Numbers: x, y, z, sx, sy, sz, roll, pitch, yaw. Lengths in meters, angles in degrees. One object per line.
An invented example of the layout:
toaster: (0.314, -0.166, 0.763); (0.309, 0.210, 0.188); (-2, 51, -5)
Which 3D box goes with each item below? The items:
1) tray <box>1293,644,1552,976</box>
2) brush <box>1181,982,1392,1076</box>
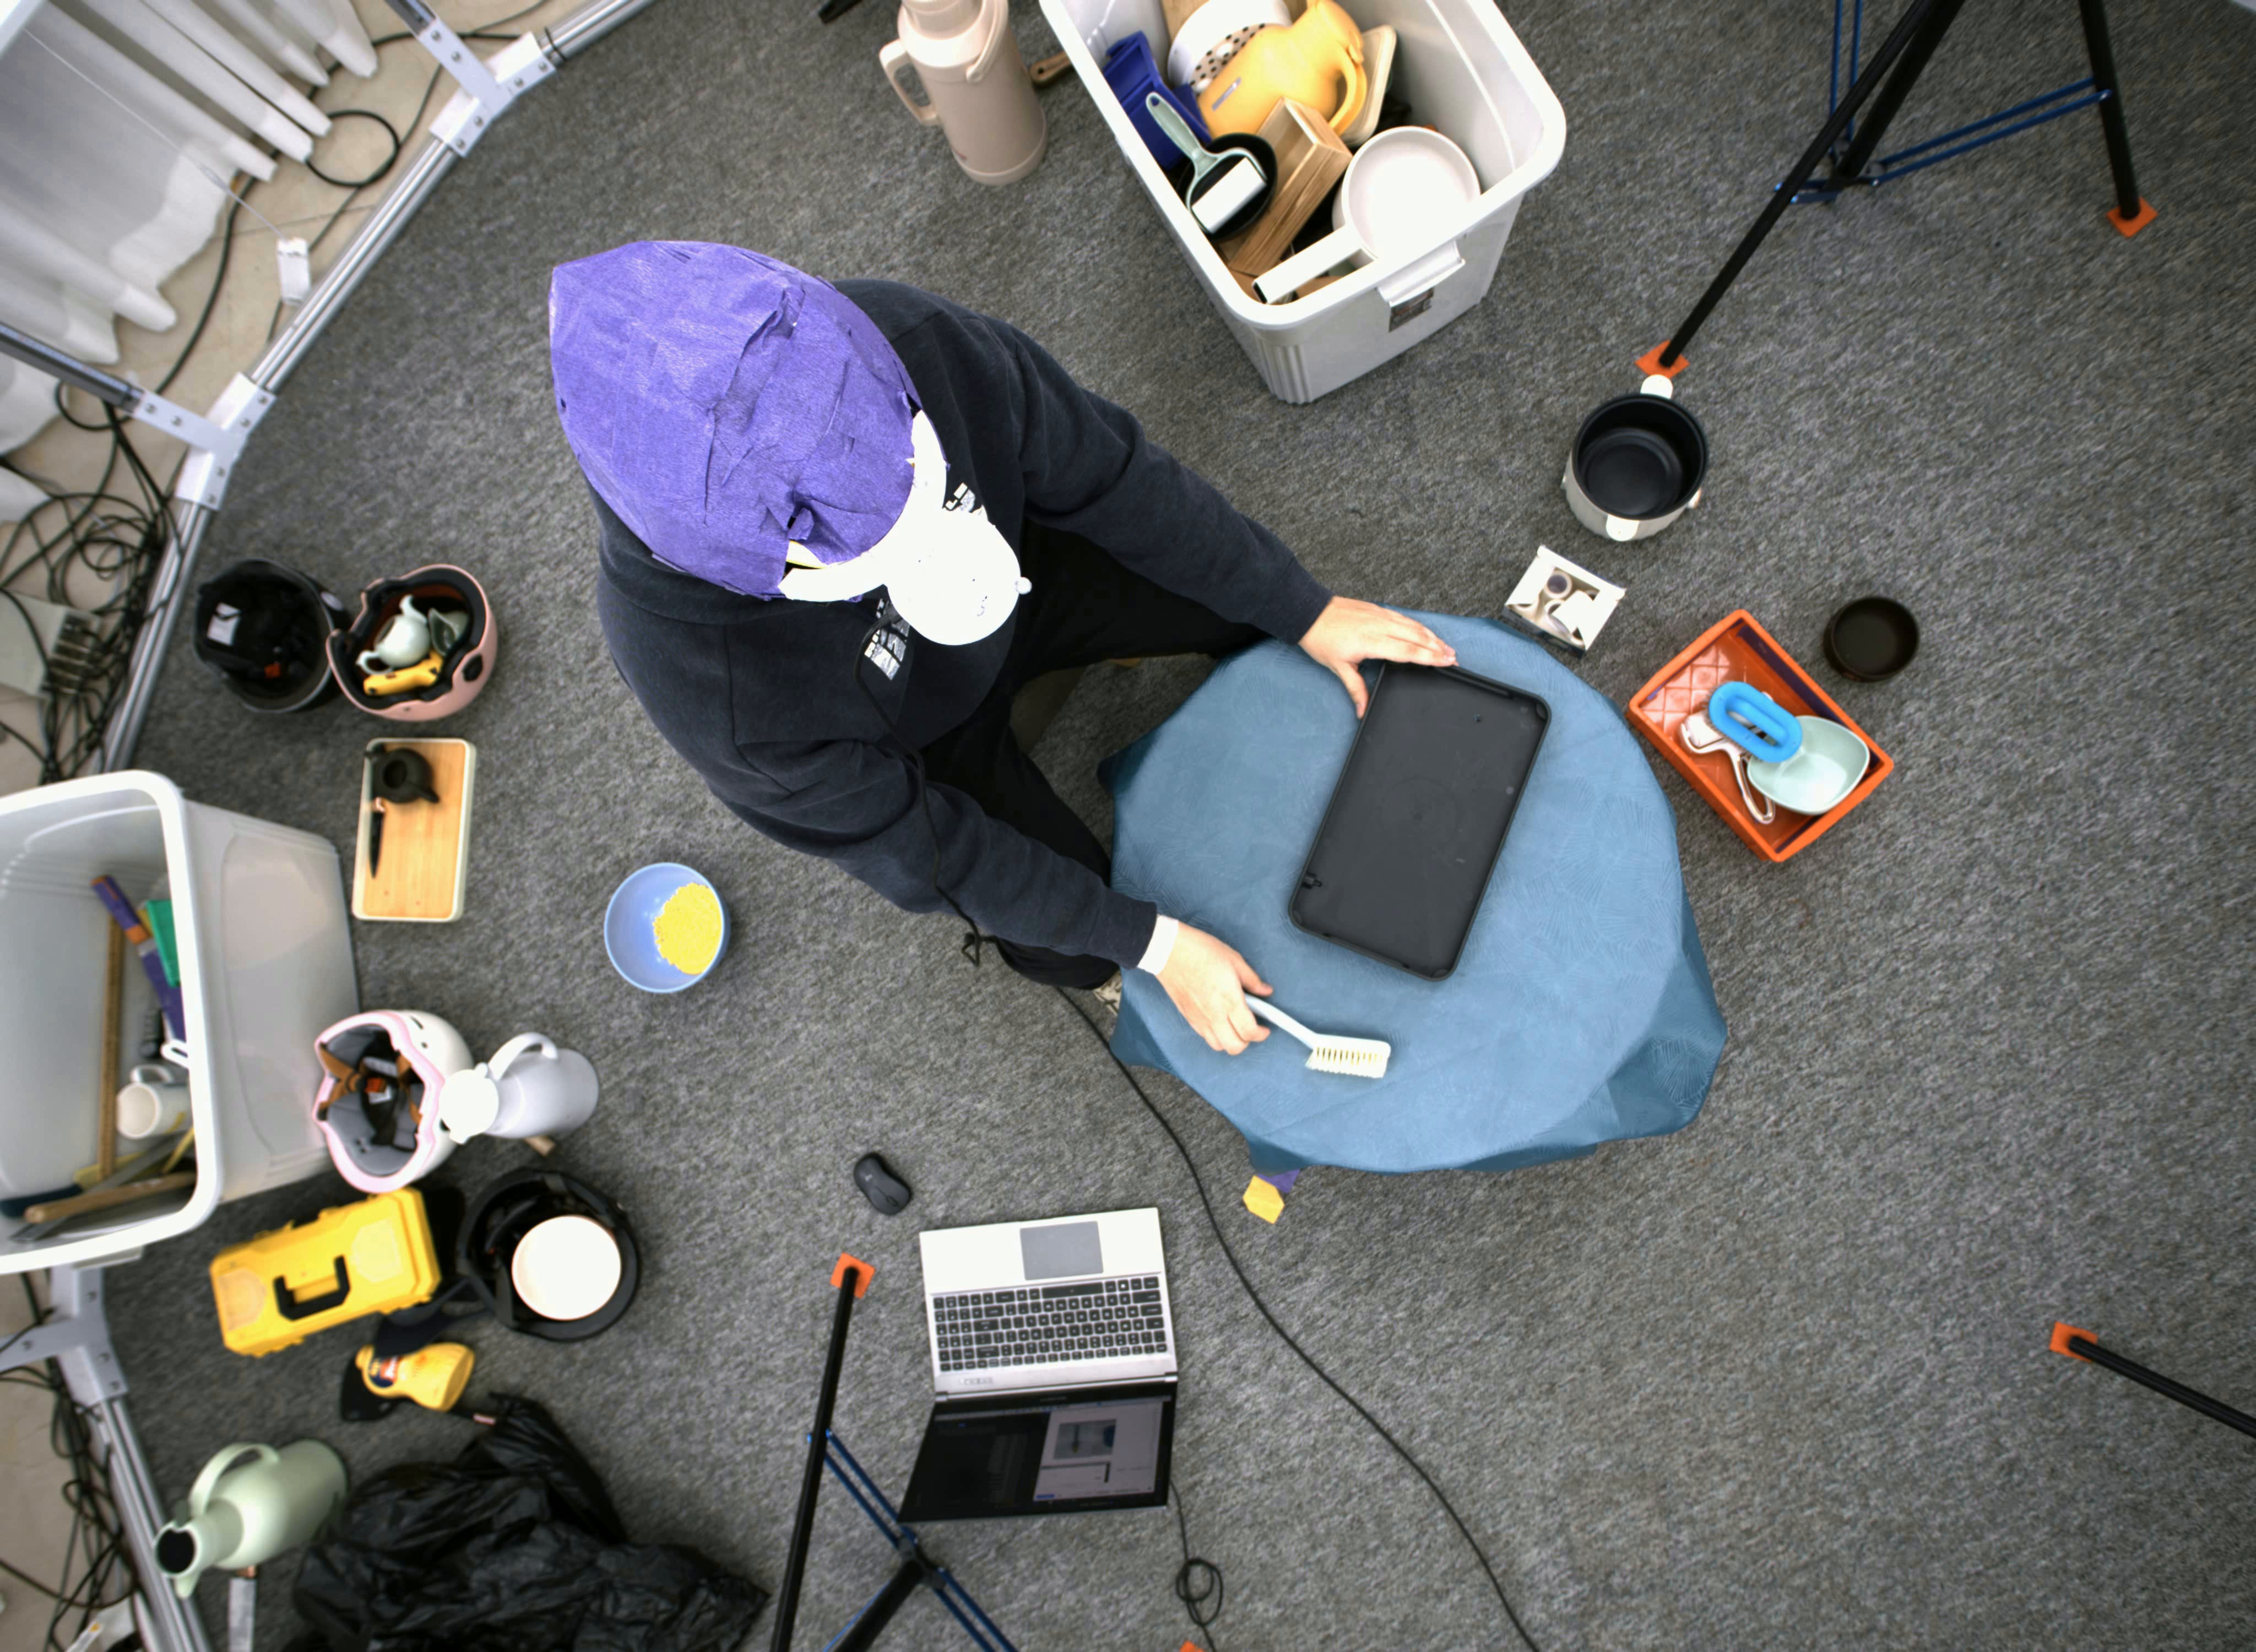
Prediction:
tray: (0.307, -0.019, 1.441); (0.184, 0.037, 0.318); (20, 91, 12)
brush: (0.161, 0.213, 1.454); (0.229, 0.038, 0.049); (19, 77, 12)
